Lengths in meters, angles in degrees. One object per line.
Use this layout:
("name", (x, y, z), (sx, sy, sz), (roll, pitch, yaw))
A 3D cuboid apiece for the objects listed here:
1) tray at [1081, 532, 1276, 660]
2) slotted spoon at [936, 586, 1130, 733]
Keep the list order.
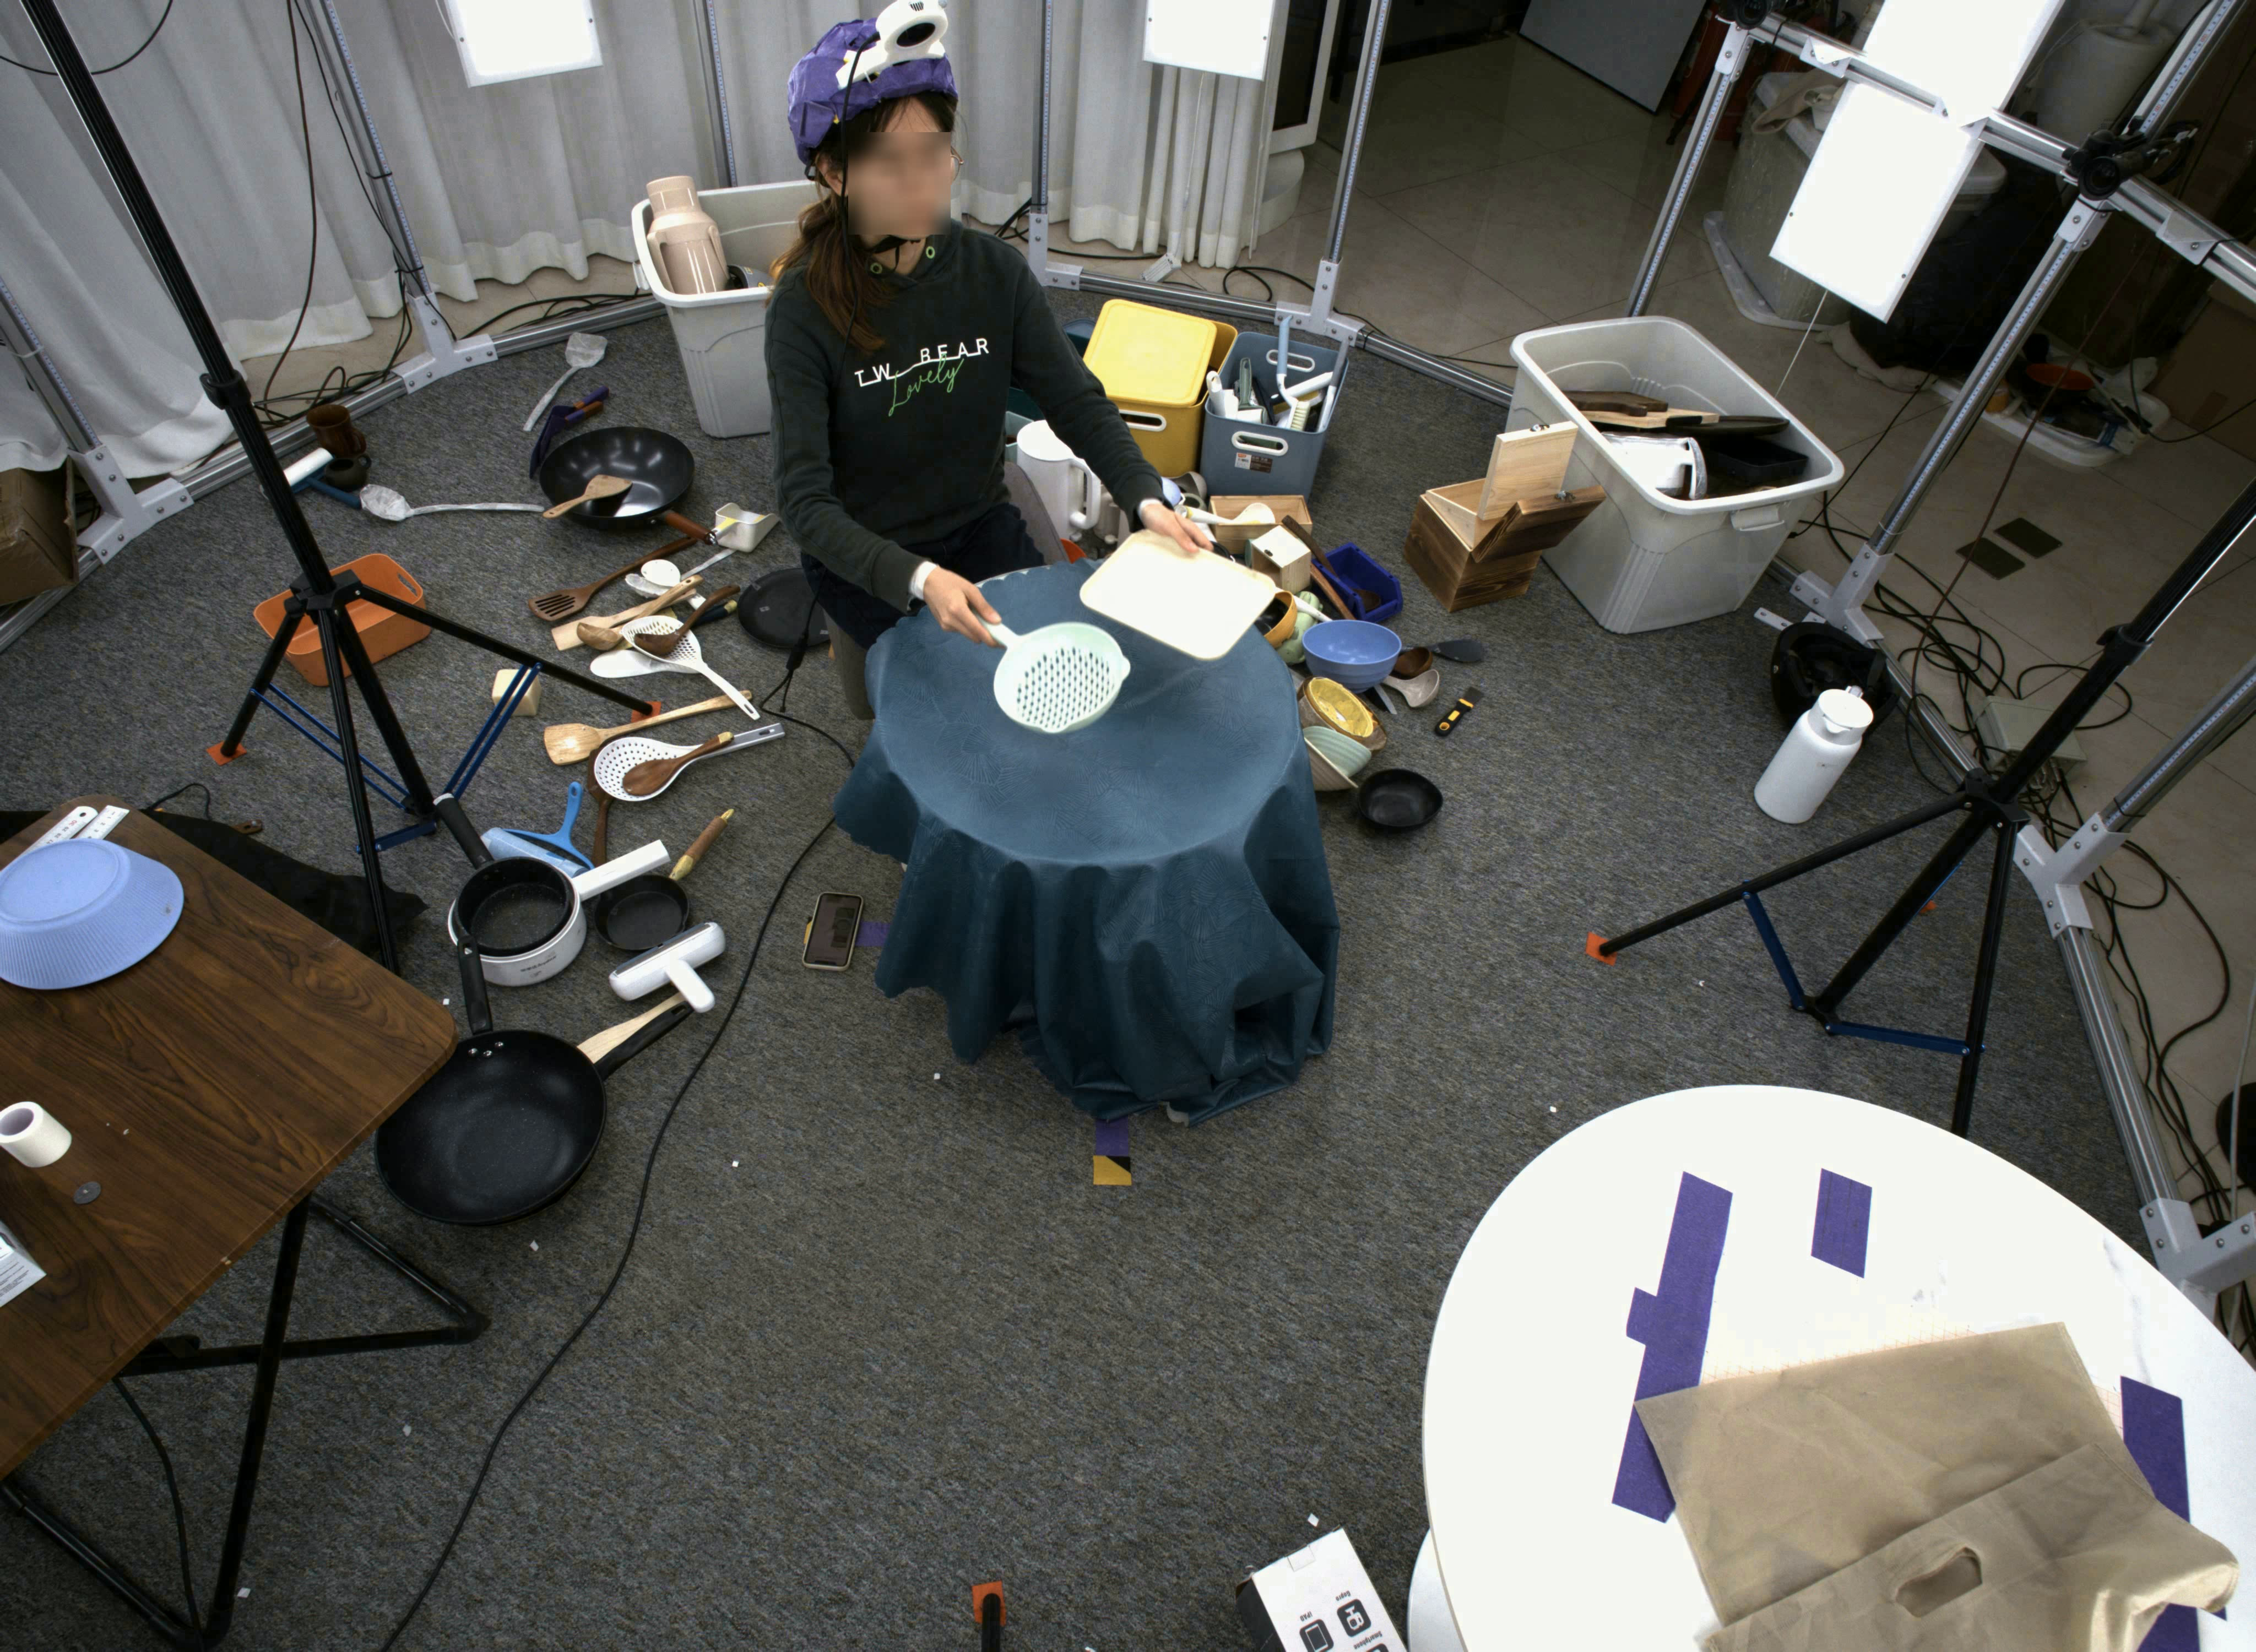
("tray", (0.068, -0.316, 1.764), (0.242, 0.017, 0.173), (27, 62, 26))
("slotted spoon", (-0.149, -0.240, 1.698), (0.170, 0.073, 0.364), (-41, 62, -15))
